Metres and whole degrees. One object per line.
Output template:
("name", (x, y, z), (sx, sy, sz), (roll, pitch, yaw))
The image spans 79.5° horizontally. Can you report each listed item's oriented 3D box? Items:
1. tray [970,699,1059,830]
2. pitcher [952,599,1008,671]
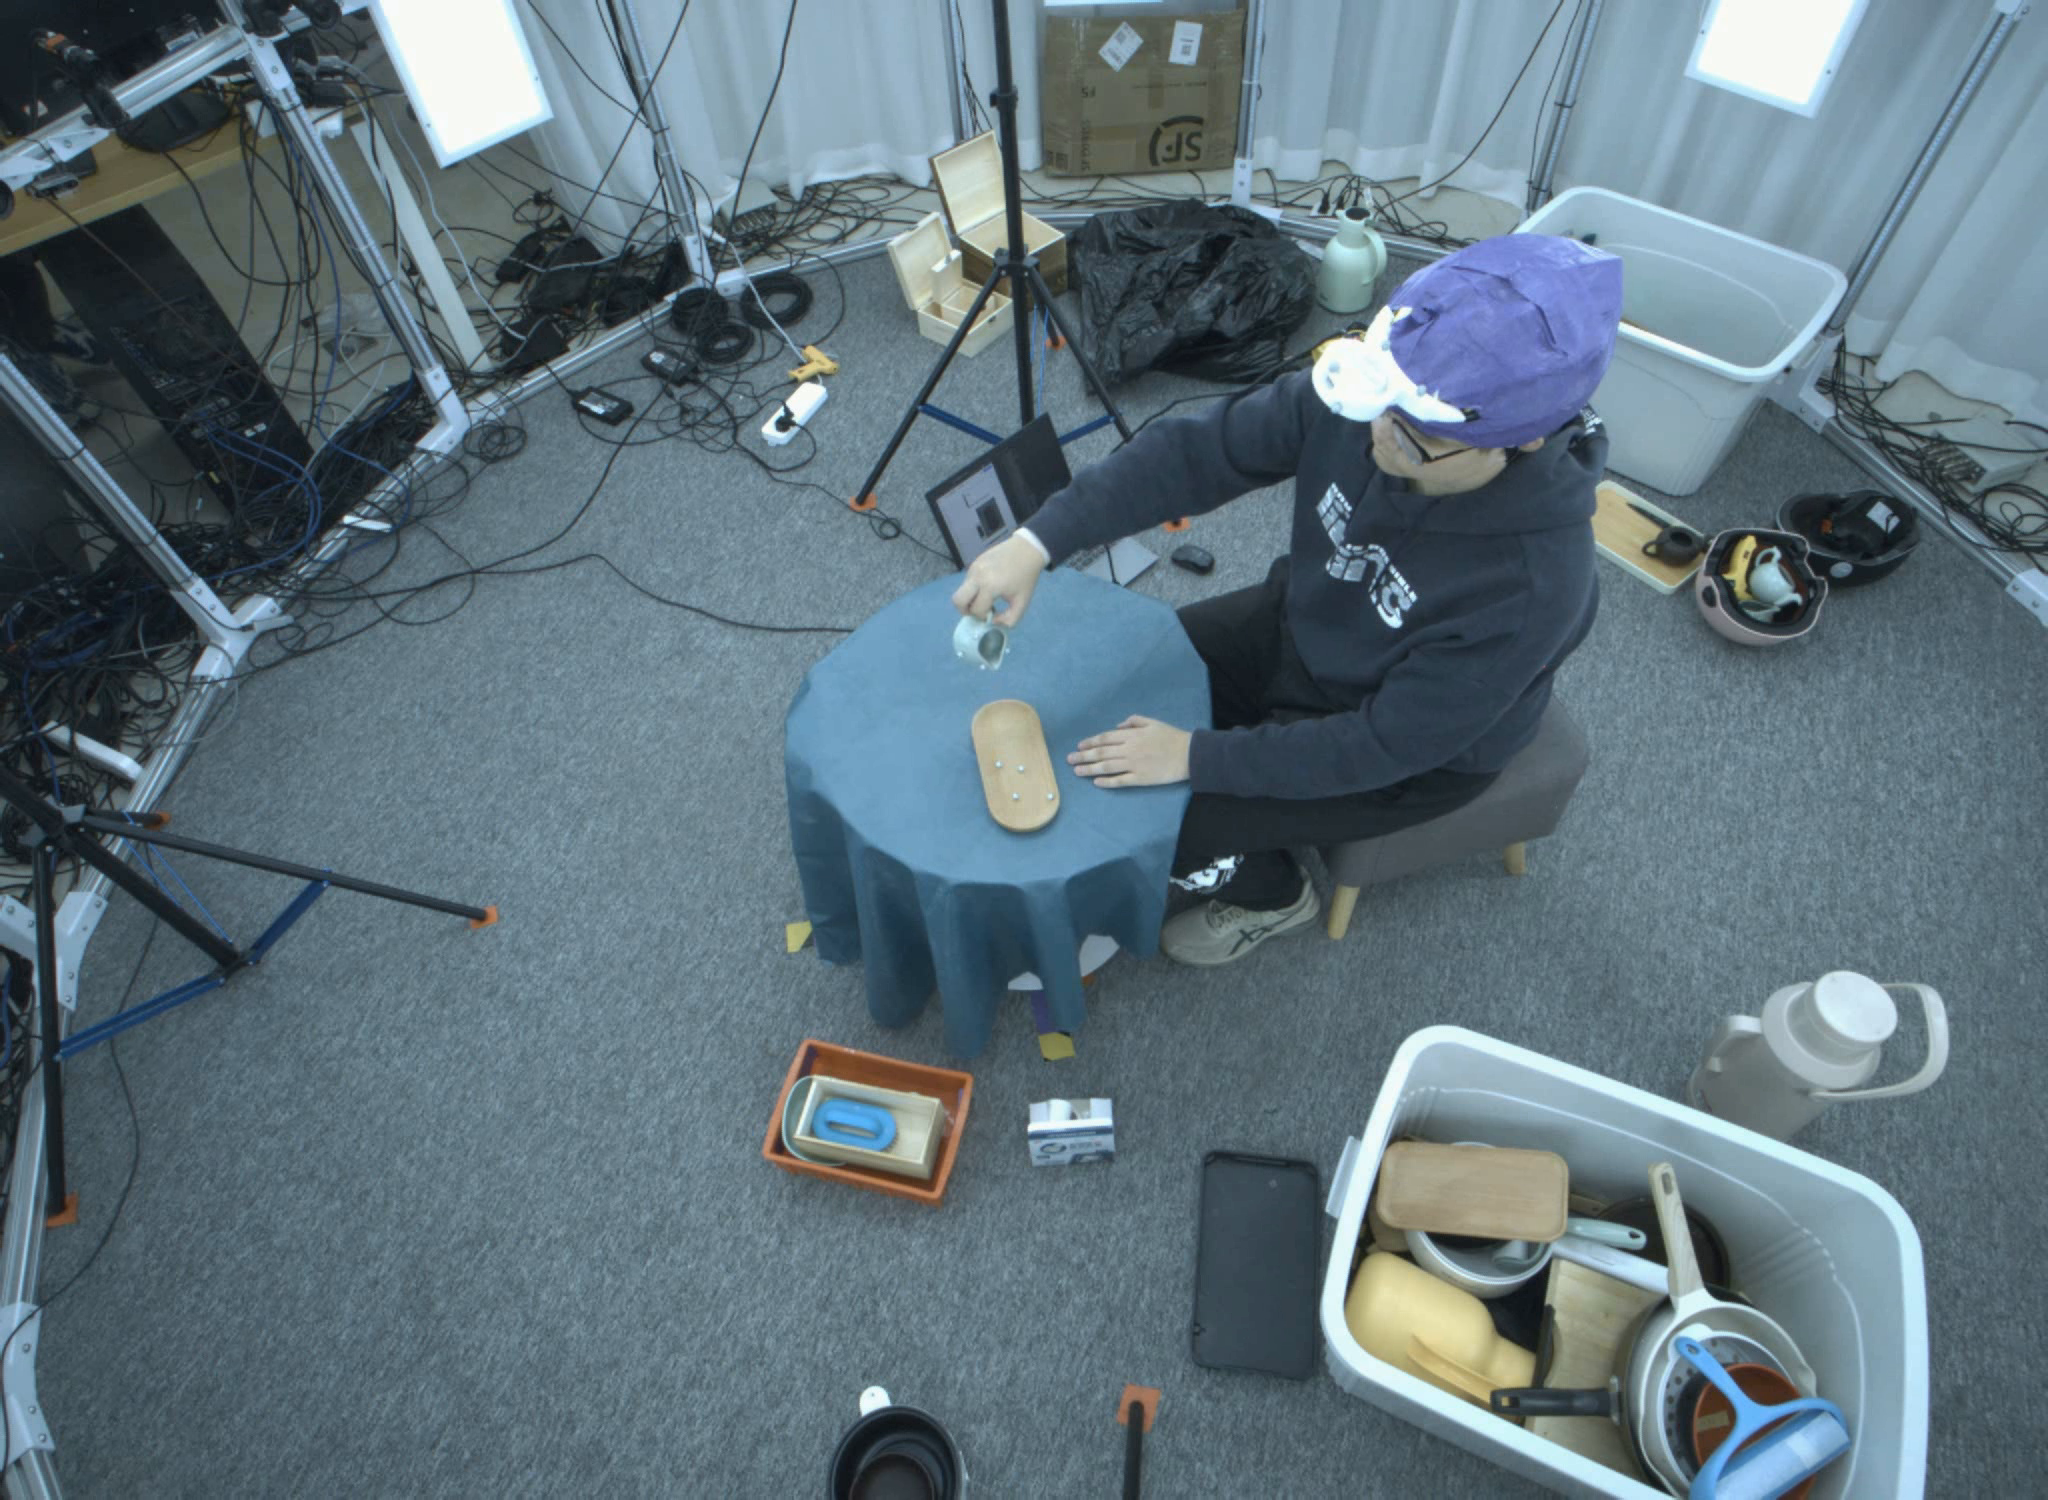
("tray", (-0.014, 0.018, 1.766), (0.102, 0.020, 0.227), (-10, 53, -8))
("pitcher", (-0.059, -0.164, 1.696), (0.087, 0.109, 0.059), (-29, 44, -21))
